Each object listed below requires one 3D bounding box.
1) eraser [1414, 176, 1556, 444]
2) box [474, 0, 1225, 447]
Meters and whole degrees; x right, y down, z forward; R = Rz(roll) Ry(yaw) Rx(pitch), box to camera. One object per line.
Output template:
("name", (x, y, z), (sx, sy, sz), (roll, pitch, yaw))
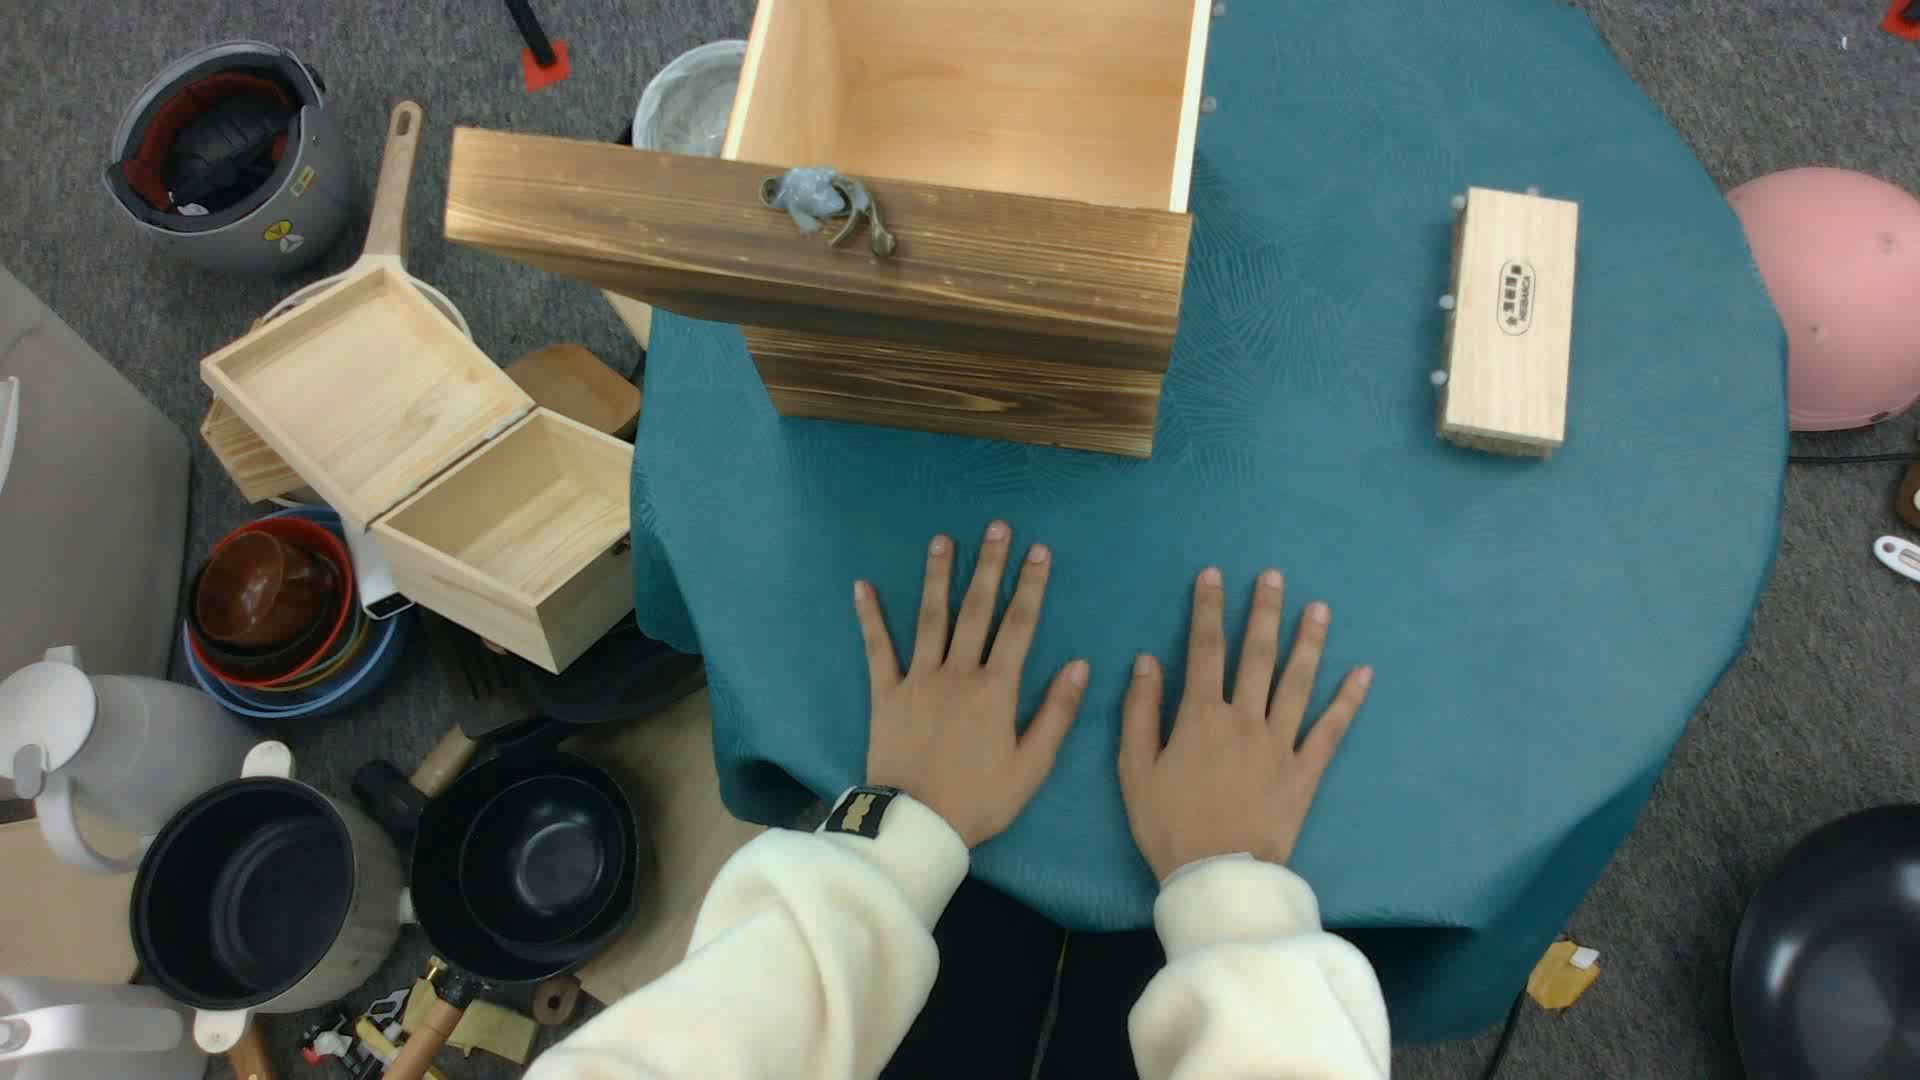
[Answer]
("eraser", (0.272, -0.120, 0.716), (0.057, 0.029, 0.140), (12, 71, 4))
("box", (-0.008, -0.169, 0.572), (0.208, 0.374, 0.323), (7, 70, 5))
